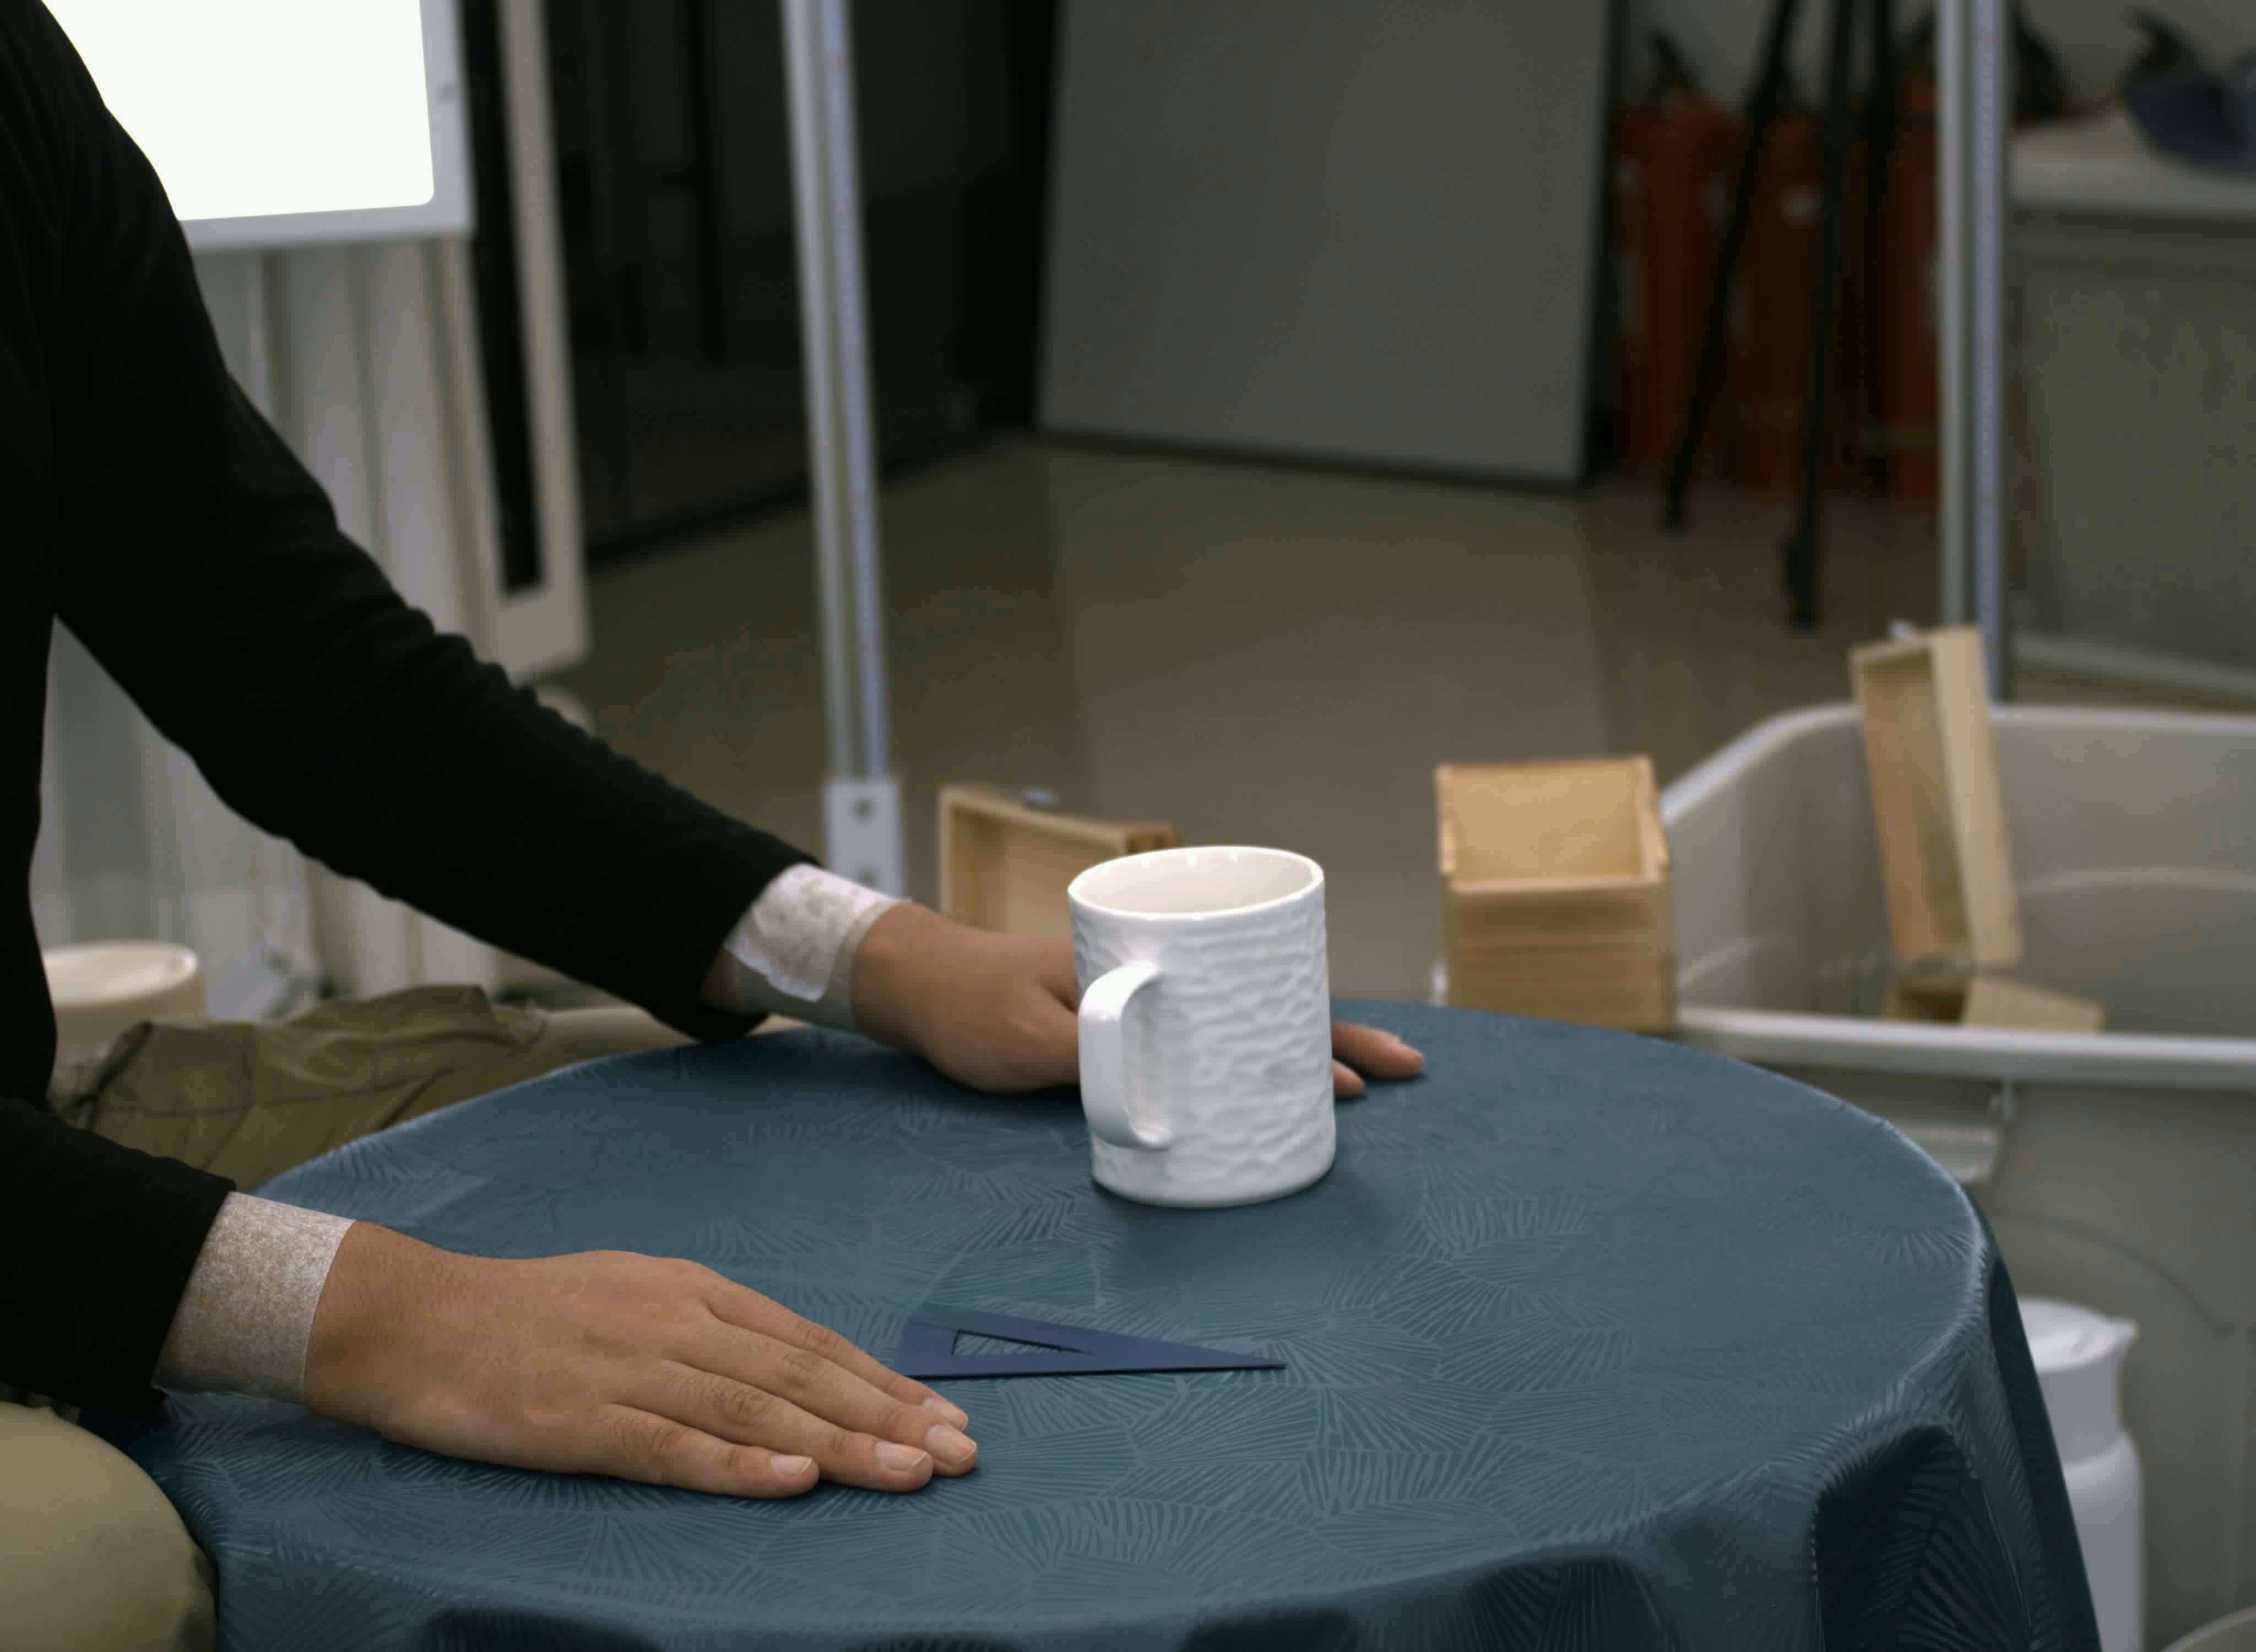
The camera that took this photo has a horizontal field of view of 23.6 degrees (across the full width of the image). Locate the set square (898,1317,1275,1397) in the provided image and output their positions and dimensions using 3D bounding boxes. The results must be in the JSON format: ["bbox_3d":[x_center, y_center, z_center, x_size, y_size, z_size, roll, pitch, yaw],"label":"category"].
[{"bbox_3d":[-0.021,0.162,1.600,0.133,0.006,0.060,7,16,39],"label":"set square"}]

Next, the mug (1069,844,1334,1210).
[{"bbox_3d":[0.018,0.069,1.758,0.085,0.103,0.116,4,15,28],"label":"mug"}]
